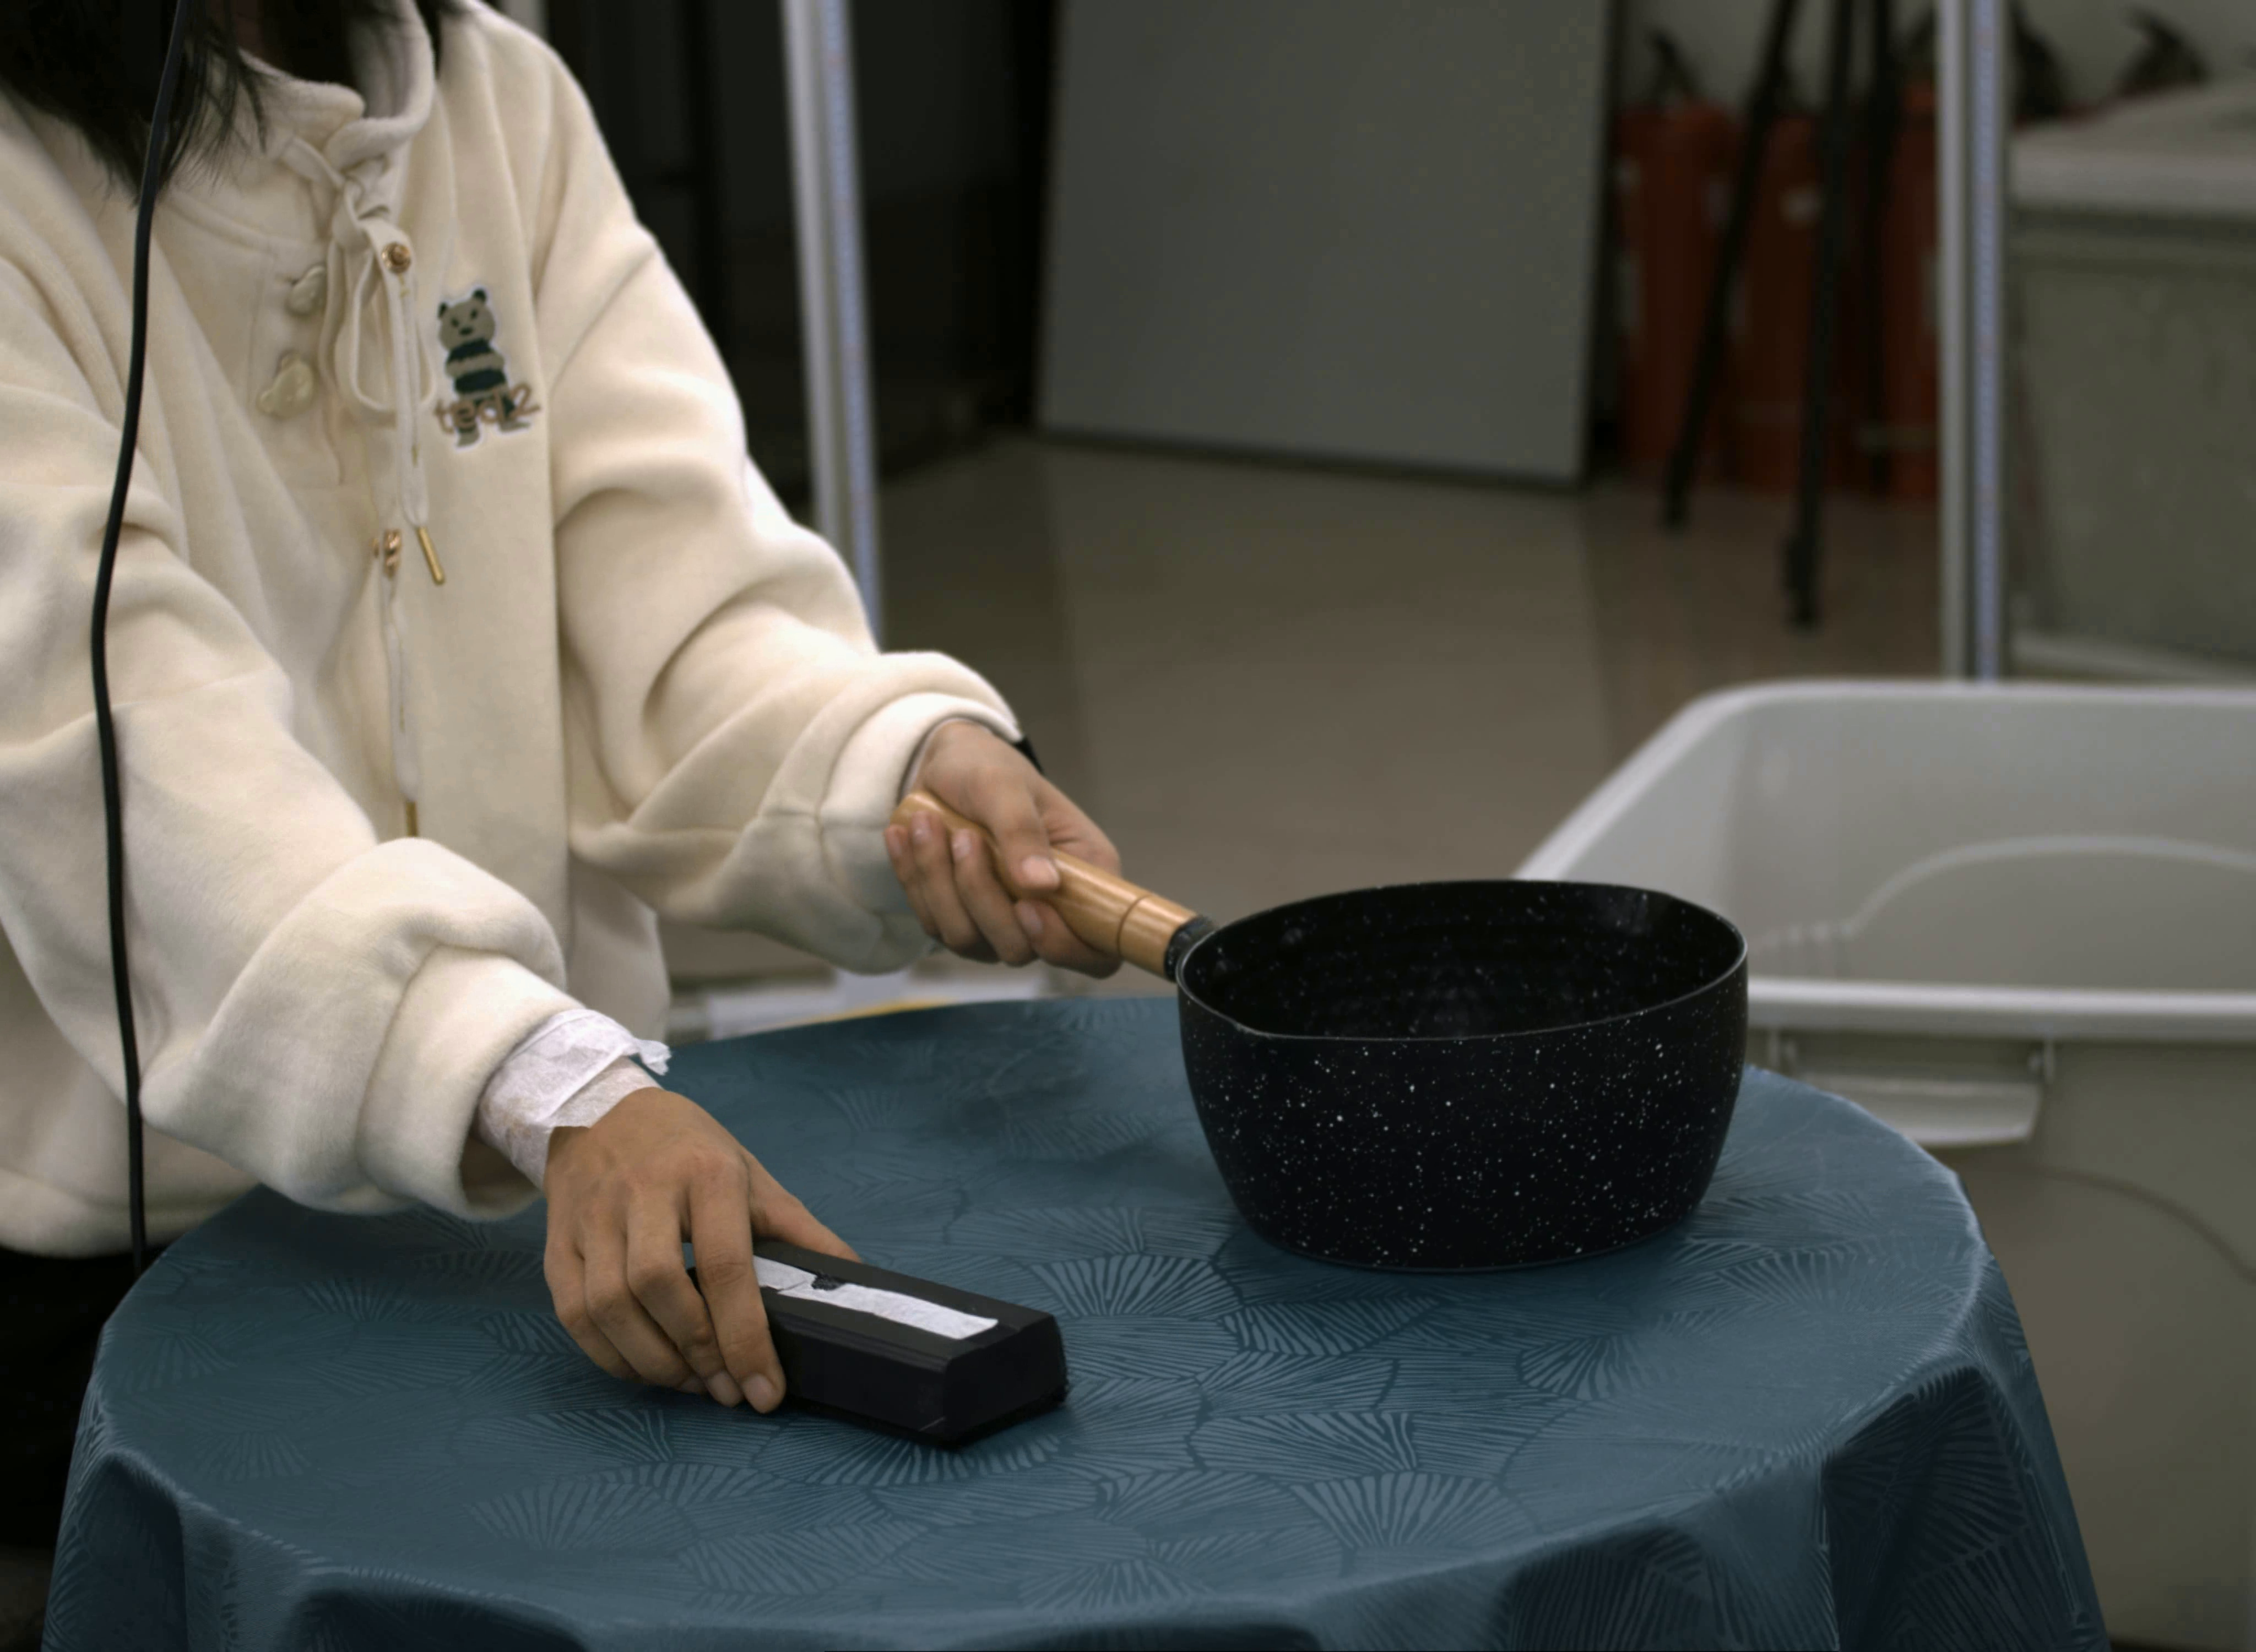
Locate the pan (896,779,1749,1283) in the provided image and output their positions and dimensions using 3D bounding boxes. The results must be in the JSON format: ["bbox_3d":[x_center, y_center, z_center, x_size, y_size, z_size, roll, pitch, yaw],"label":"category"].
[{"bbox_3d":[0.049,0.060,1.775,0.346,0.109,0.203,10,21,42],"label":"pan"}]

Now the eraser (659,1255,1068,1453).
[{"bbox_3d":[-0.078,0.155,1.596,0.126,0.031,0.052,9,18,43],"label":"eraser"}]
